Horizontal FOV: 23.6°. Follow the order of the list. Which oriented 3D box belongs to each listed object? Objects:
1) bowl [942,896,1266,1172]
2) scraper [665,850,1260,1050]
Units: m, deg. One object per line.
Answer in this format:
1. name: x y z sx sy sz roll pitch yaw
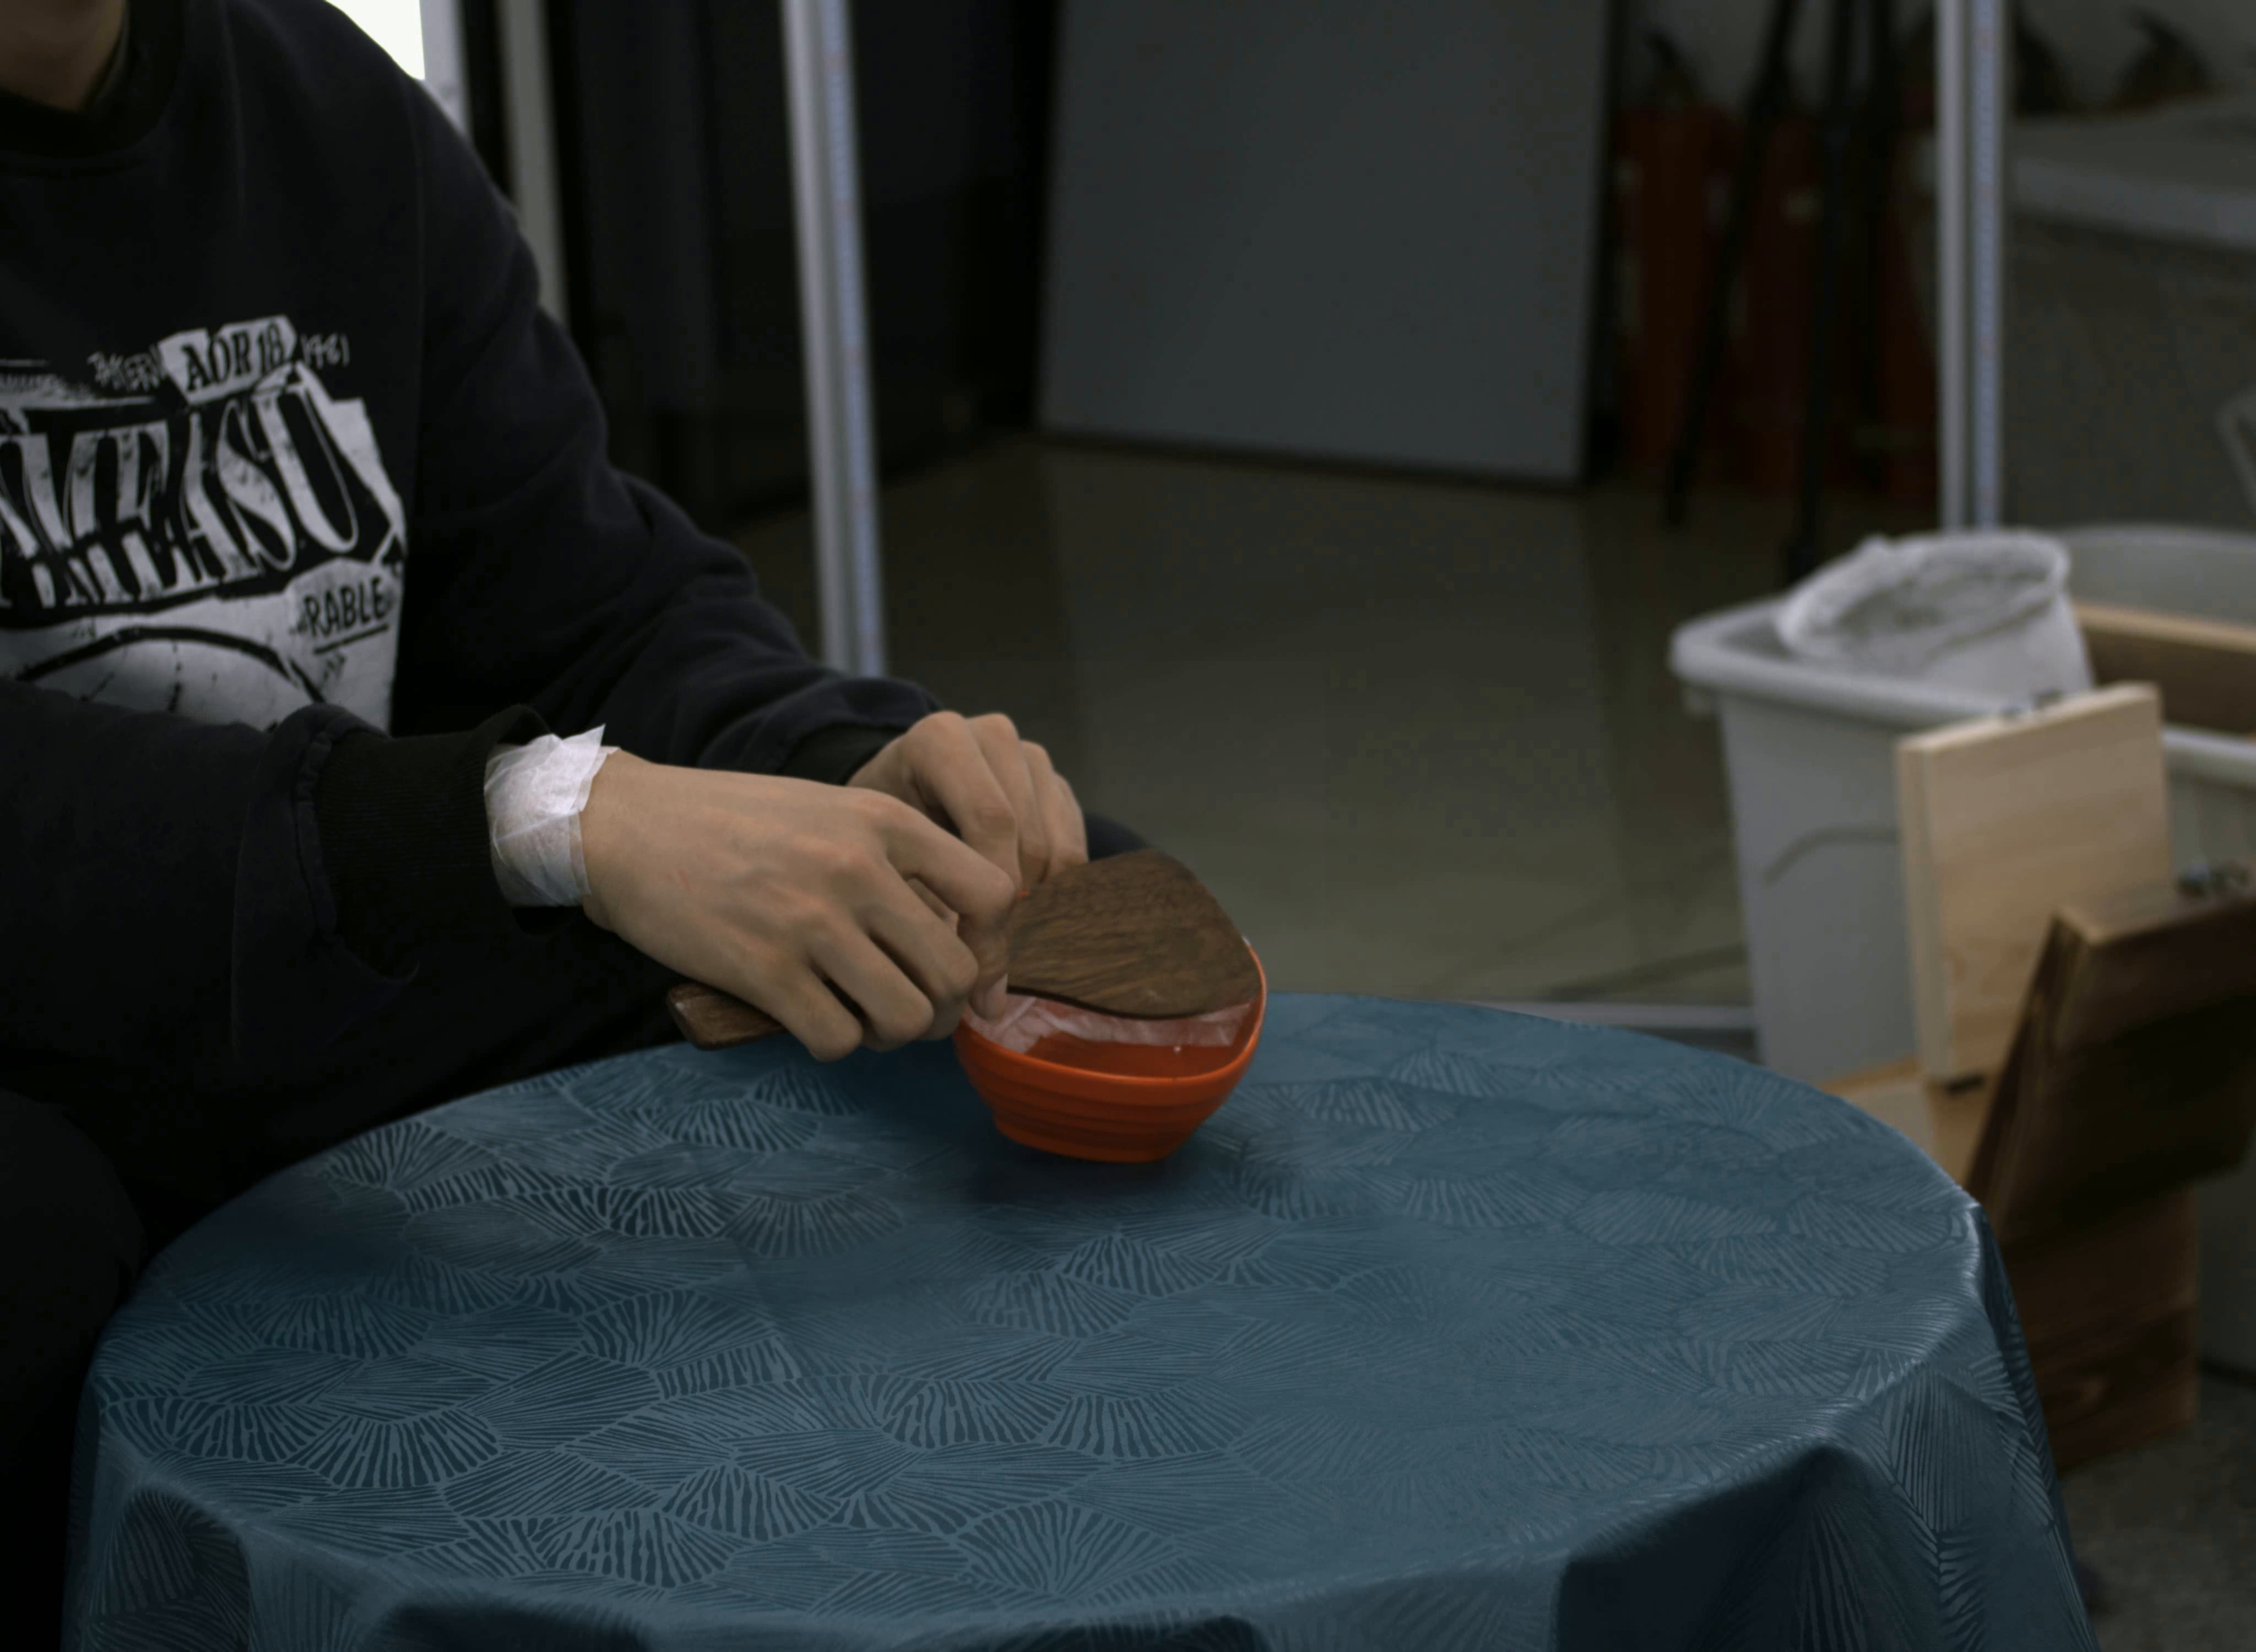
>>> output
1. bowl: -0.010 0.075 1.813 0.117 0.052 0.119 5 33 -4
2. scraper: -0.056 0.048 1.762 0.206 0.011 0.077 -9 47 -31
